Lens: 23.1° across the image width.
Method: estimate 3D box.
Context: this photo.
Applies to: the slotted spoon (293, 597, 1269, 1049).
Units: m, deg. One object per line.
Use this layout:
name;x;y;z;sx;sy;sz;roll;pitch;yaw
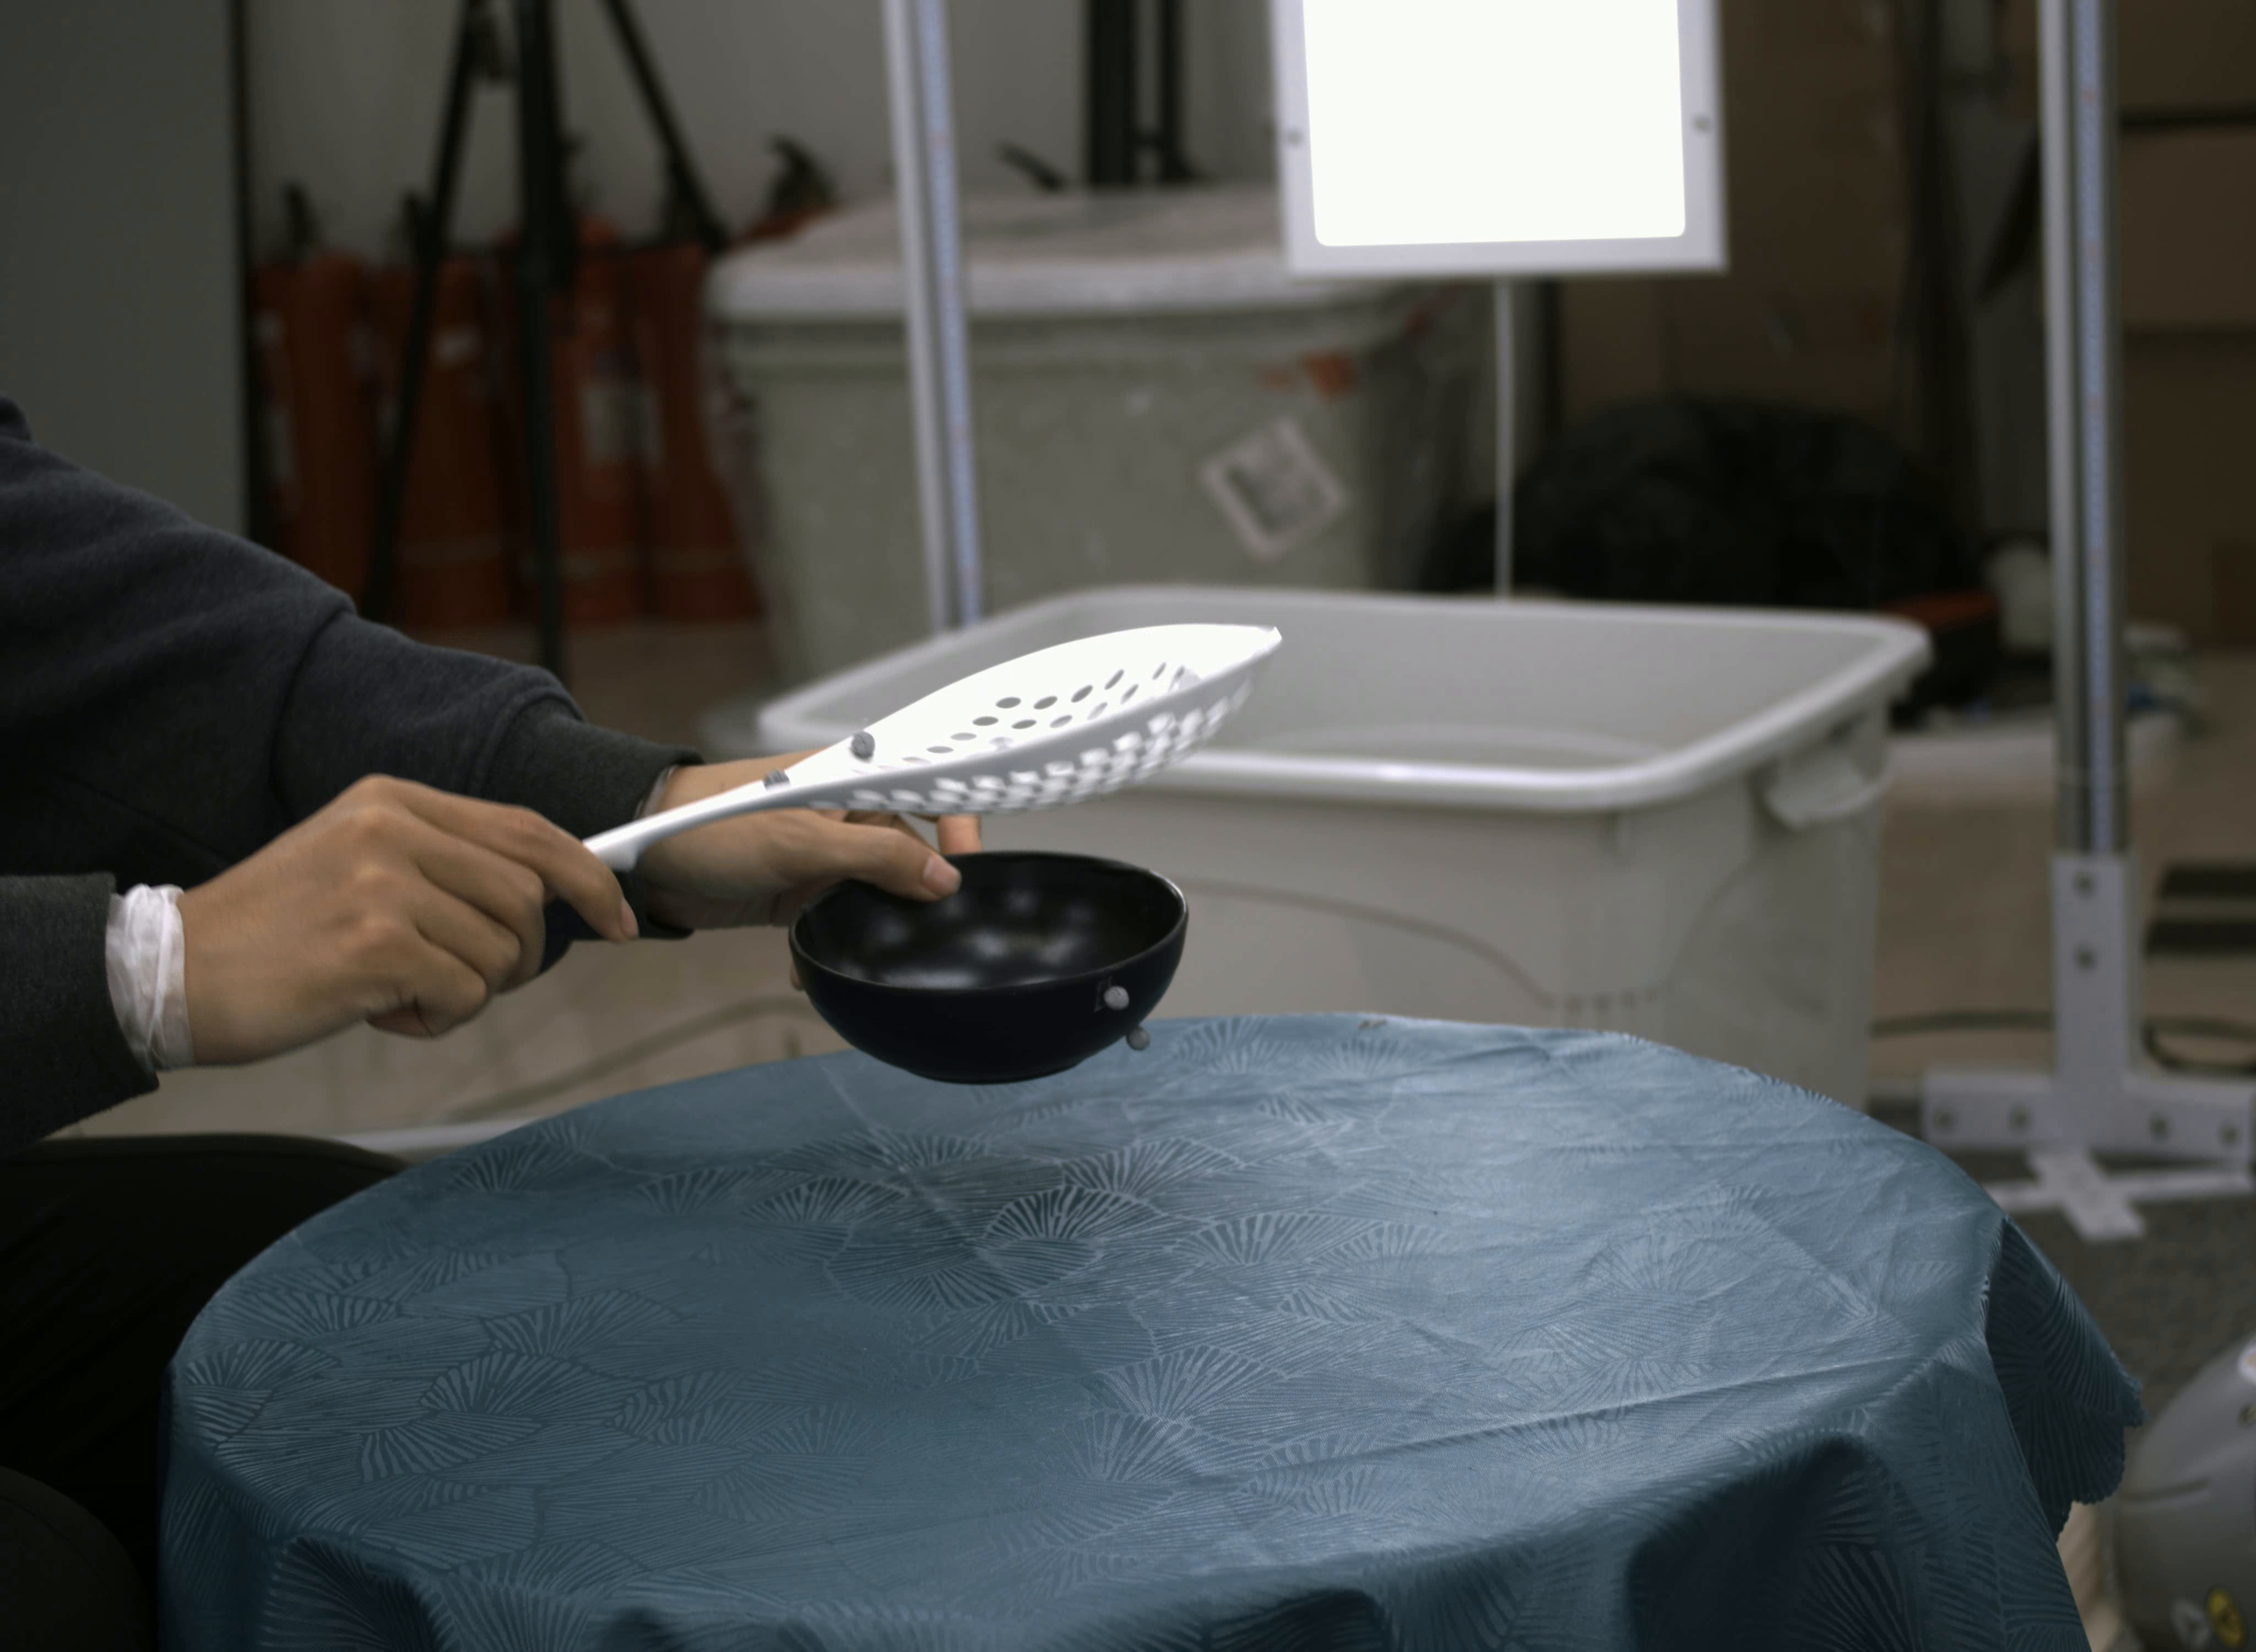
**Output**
slotted spoon;-0.110;-0.005;1.730;0.341;0.050;0.139;-18;11;-24
